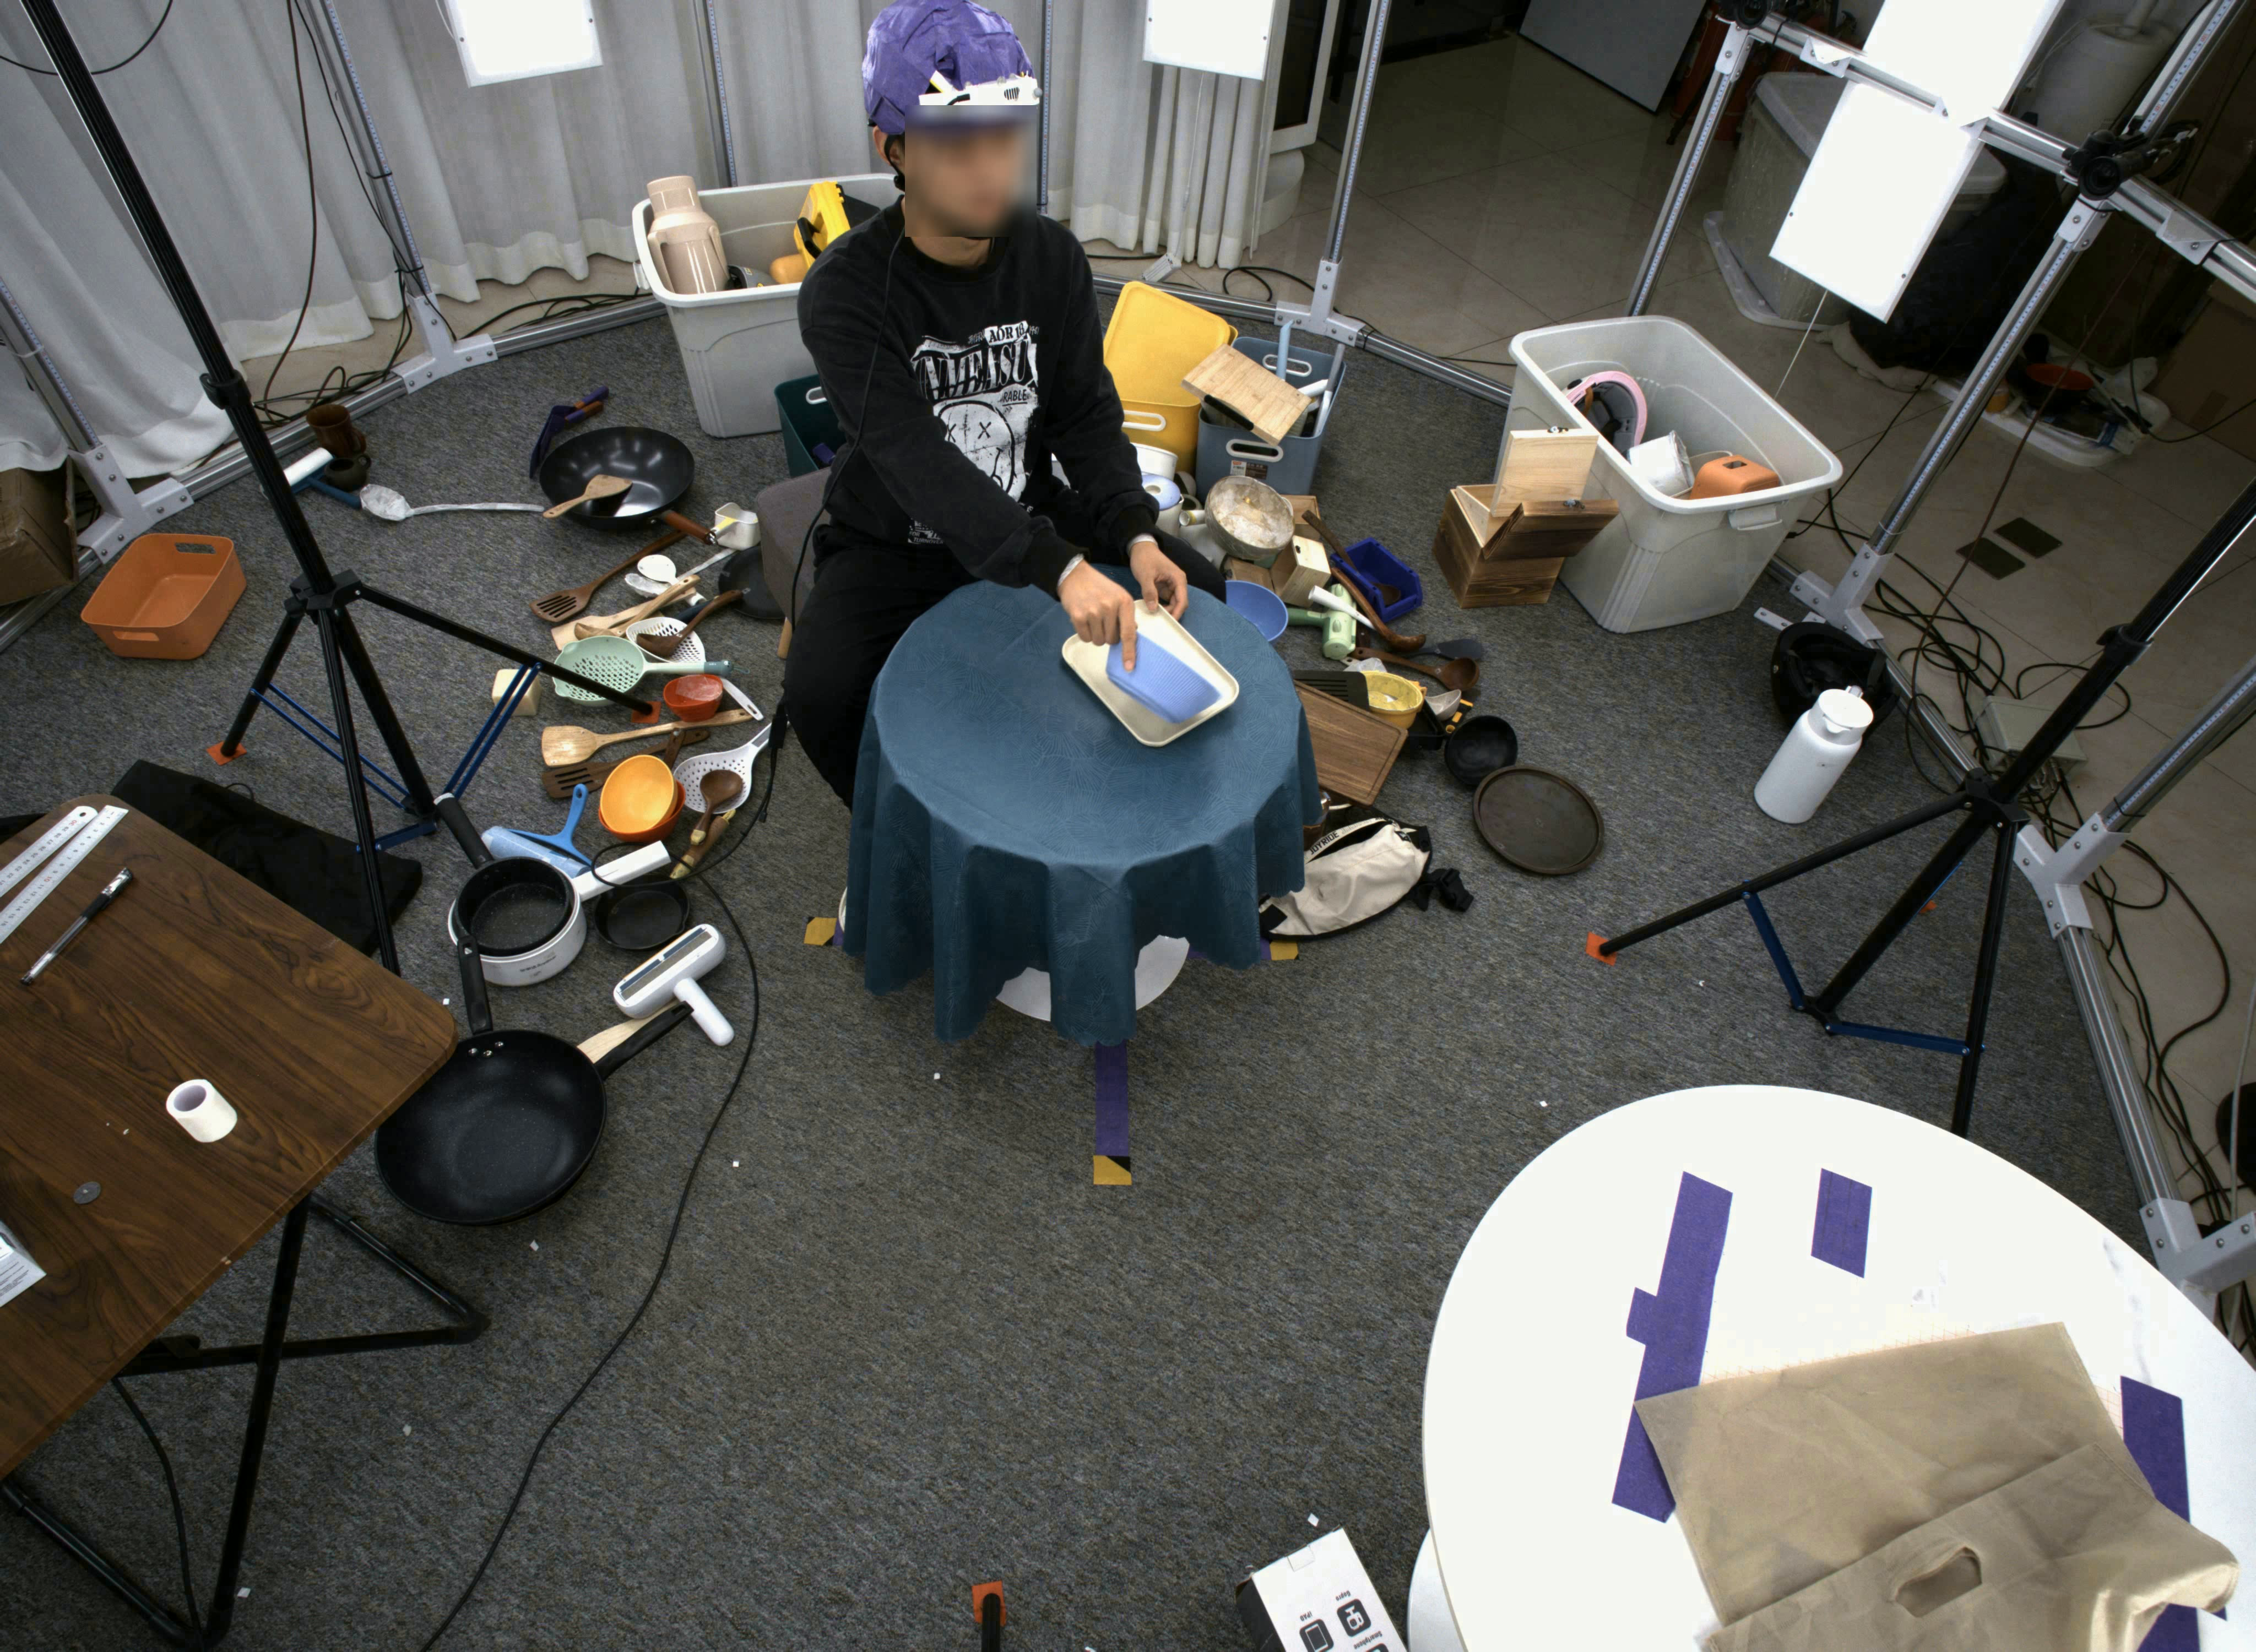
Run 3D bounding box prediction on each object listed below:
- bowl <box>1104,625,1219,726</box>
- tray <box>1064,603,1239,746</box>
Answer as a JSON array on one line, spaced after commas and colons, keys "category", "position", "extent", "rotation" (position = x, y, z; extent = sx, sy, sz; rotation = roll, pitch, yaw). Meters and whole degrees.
[{"category": "bowl", "position": [0.033, -0.194, 1.724], "extent": [0.178, 0.173, 0.070], "rotation": [36, 90, 24]}, {"category": "tray", "position": [0.032, -0.220, 1.850], "extent": [0.172, 0.017, 0.244], "rotation": [-31, 58, -17]}]
